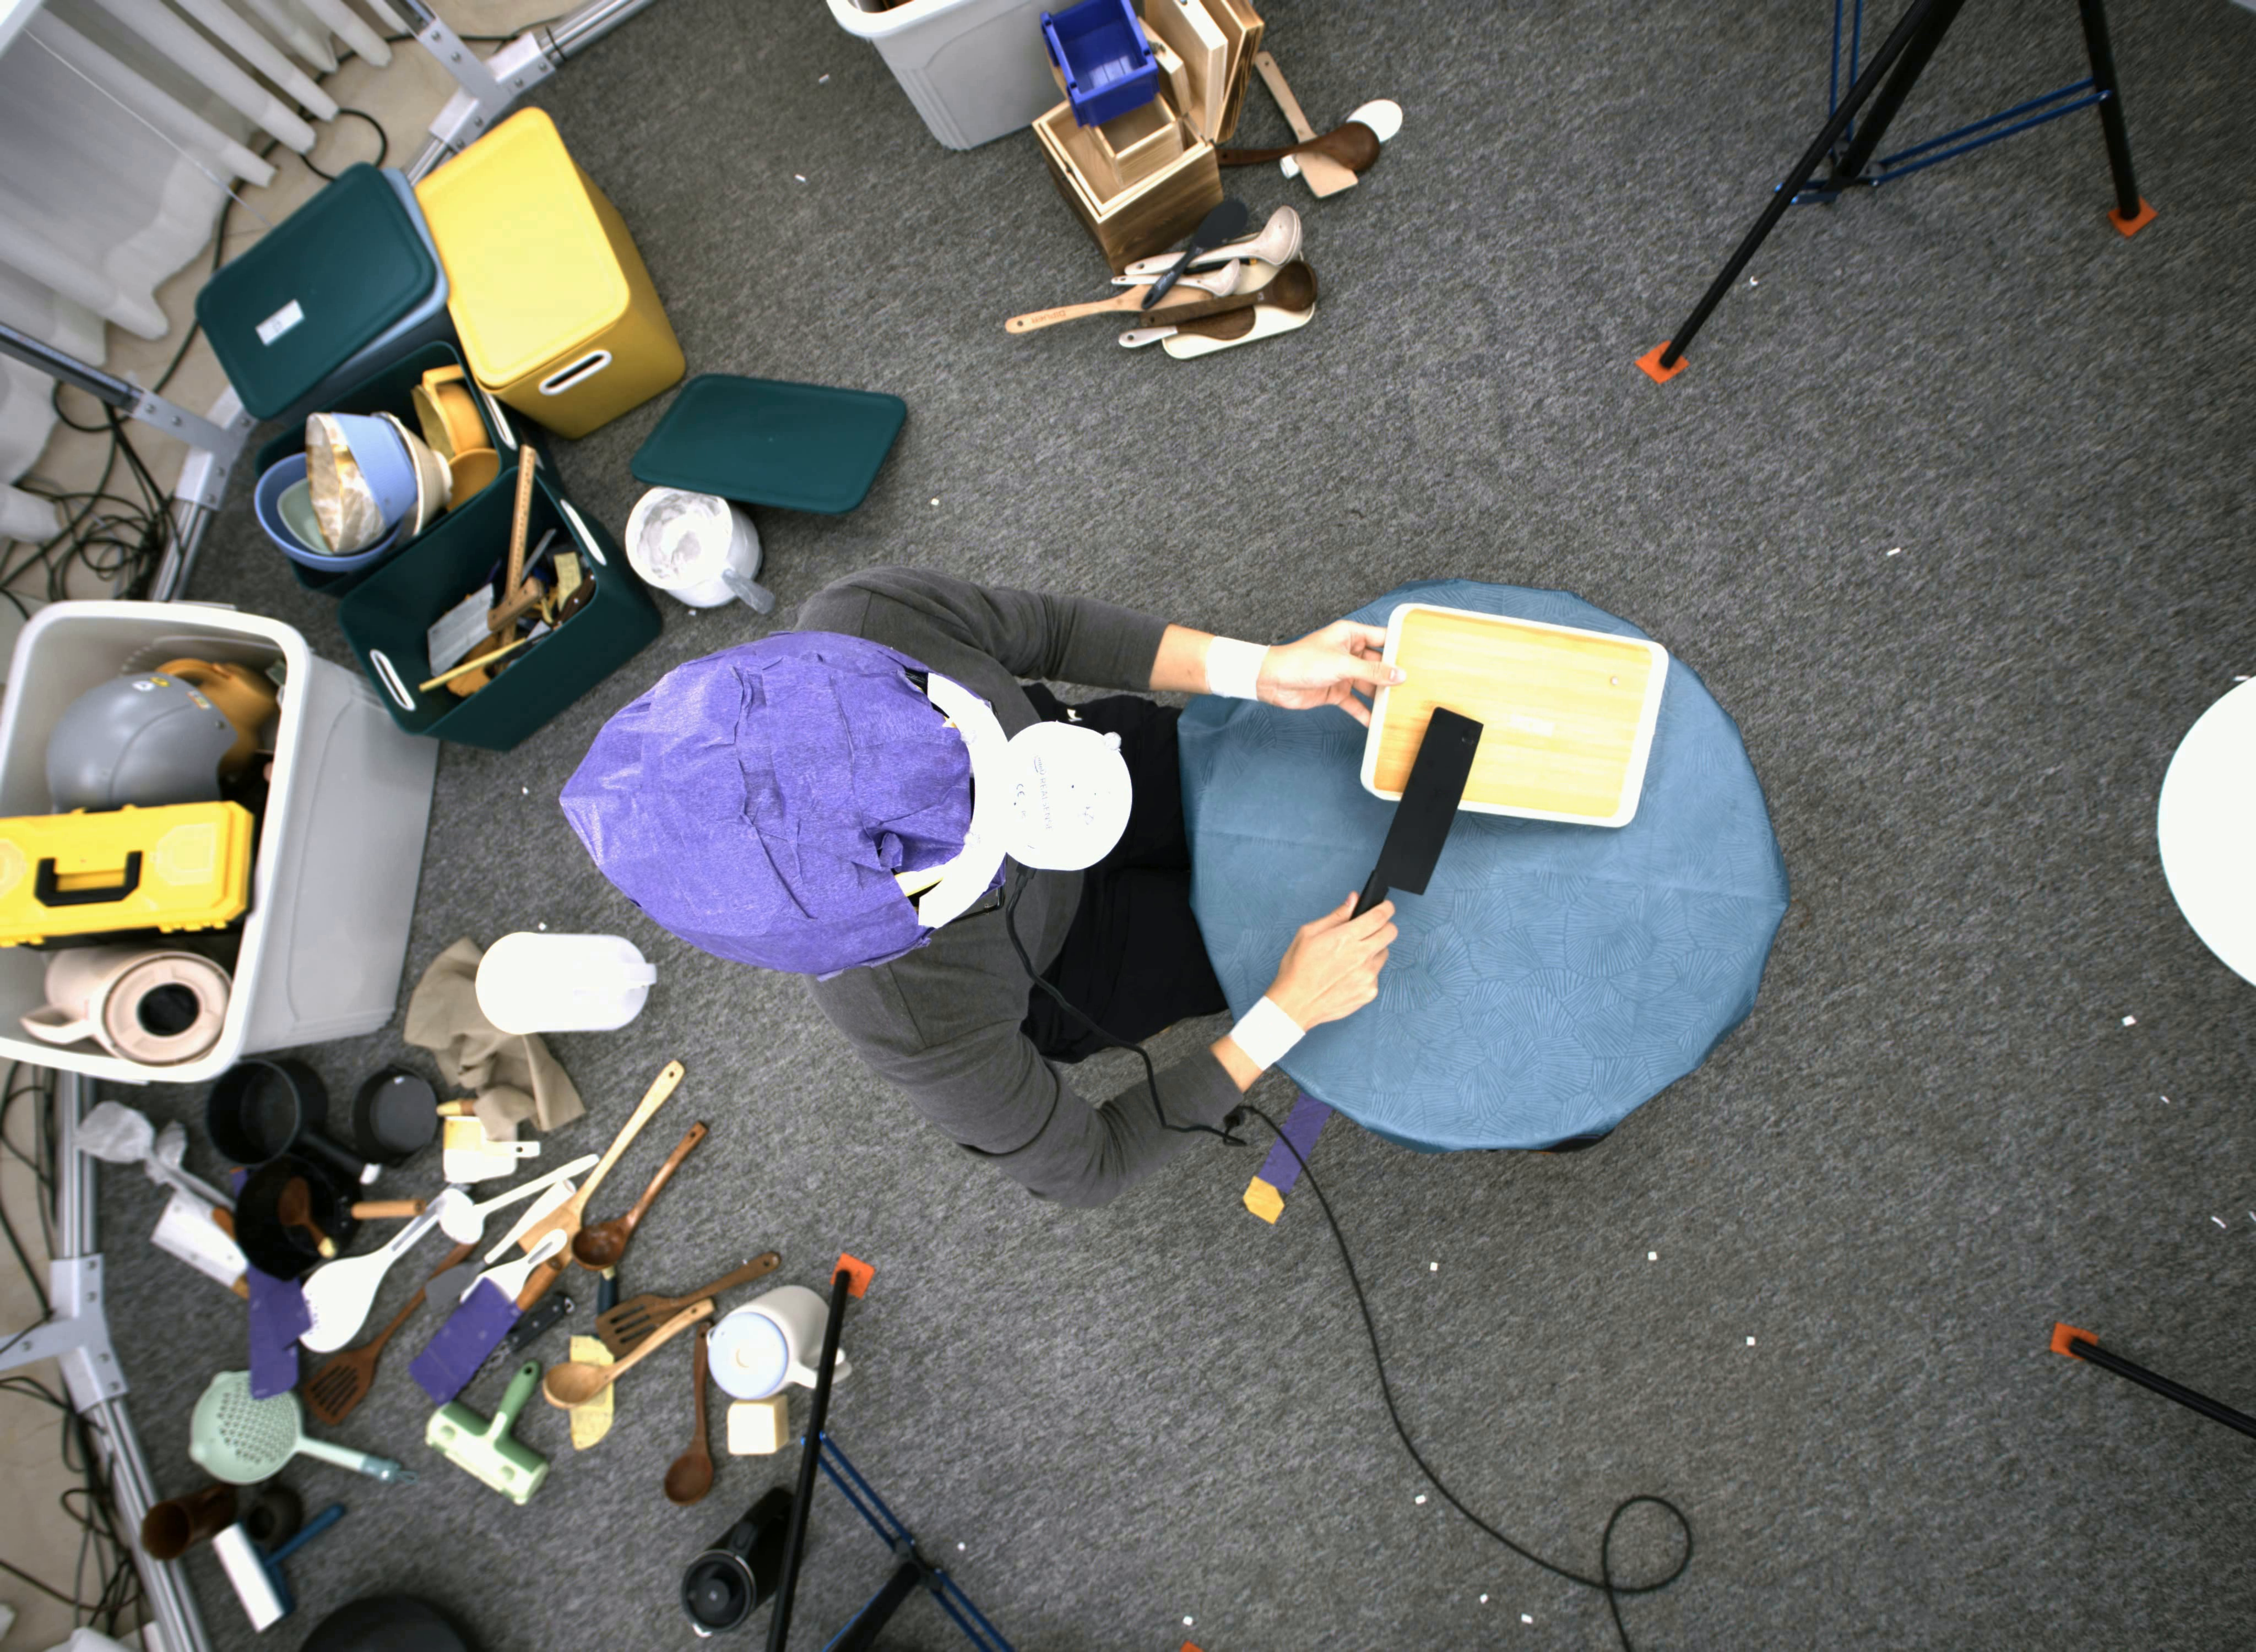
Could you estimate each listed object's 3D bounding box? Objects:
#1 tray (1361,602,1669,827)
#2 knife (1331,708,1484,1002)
[{"bbox_3d":[0.384,-0.110,1.353,0.300,0.027,0.193,6,103,-14],"label":"tray"},{"bbox_3d":[0.271,0.031,1.346,0.081,0.020,0.304,19,99,-23],"label":"knife"}]
